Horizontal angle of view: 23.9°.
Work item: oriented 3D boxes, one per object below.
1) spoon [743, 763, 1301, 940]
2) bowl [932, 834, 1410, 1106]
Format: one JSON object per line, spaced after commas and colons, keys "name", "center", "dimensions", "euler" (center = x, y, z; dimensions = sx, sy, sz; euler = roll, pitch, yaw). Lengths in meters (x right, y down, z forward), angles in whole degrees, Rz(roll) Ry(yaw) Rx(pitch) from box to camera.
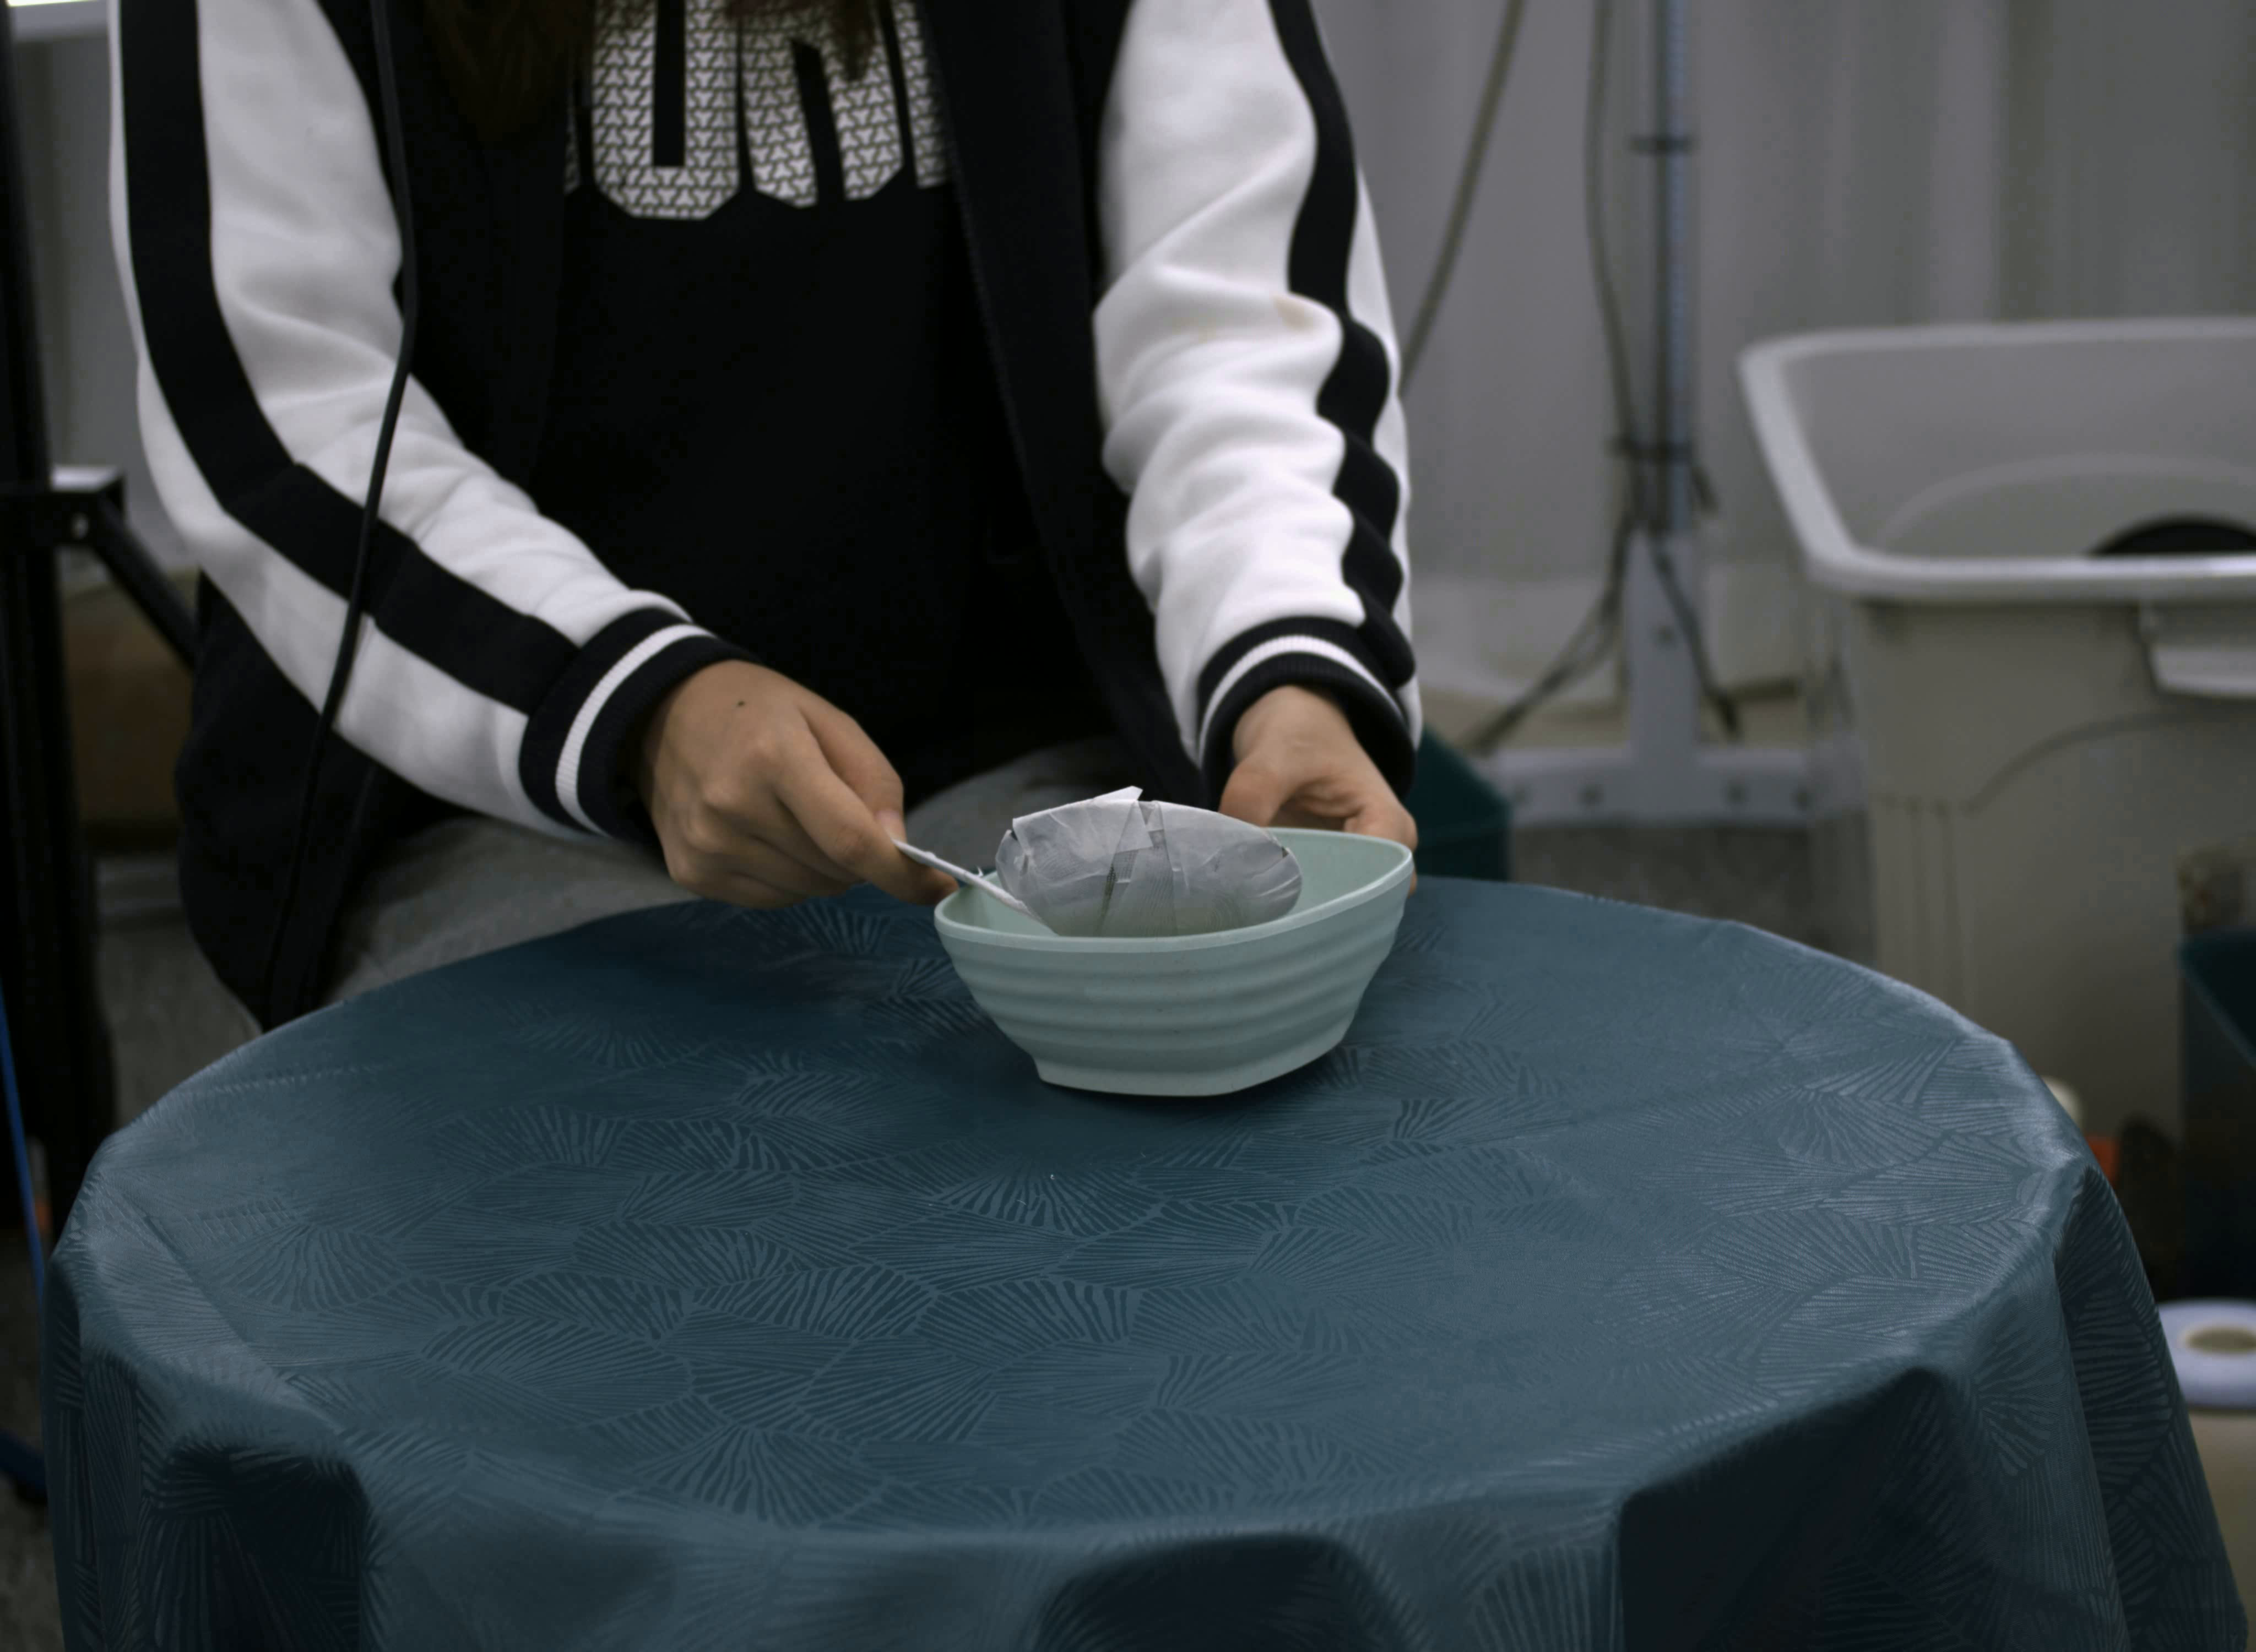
{"name": "spoon", "center": [-0.041, -0.006, 1.694], "dimensions": [0.098, 0.059, 0.283], "euler": [34, -5, -32]}
{"name": "bowl", "center": [0.016, 0.047, 1.661], "dimensions": [0.151, 0.058, 0.152], "euler": [-6, 13, 0]}
